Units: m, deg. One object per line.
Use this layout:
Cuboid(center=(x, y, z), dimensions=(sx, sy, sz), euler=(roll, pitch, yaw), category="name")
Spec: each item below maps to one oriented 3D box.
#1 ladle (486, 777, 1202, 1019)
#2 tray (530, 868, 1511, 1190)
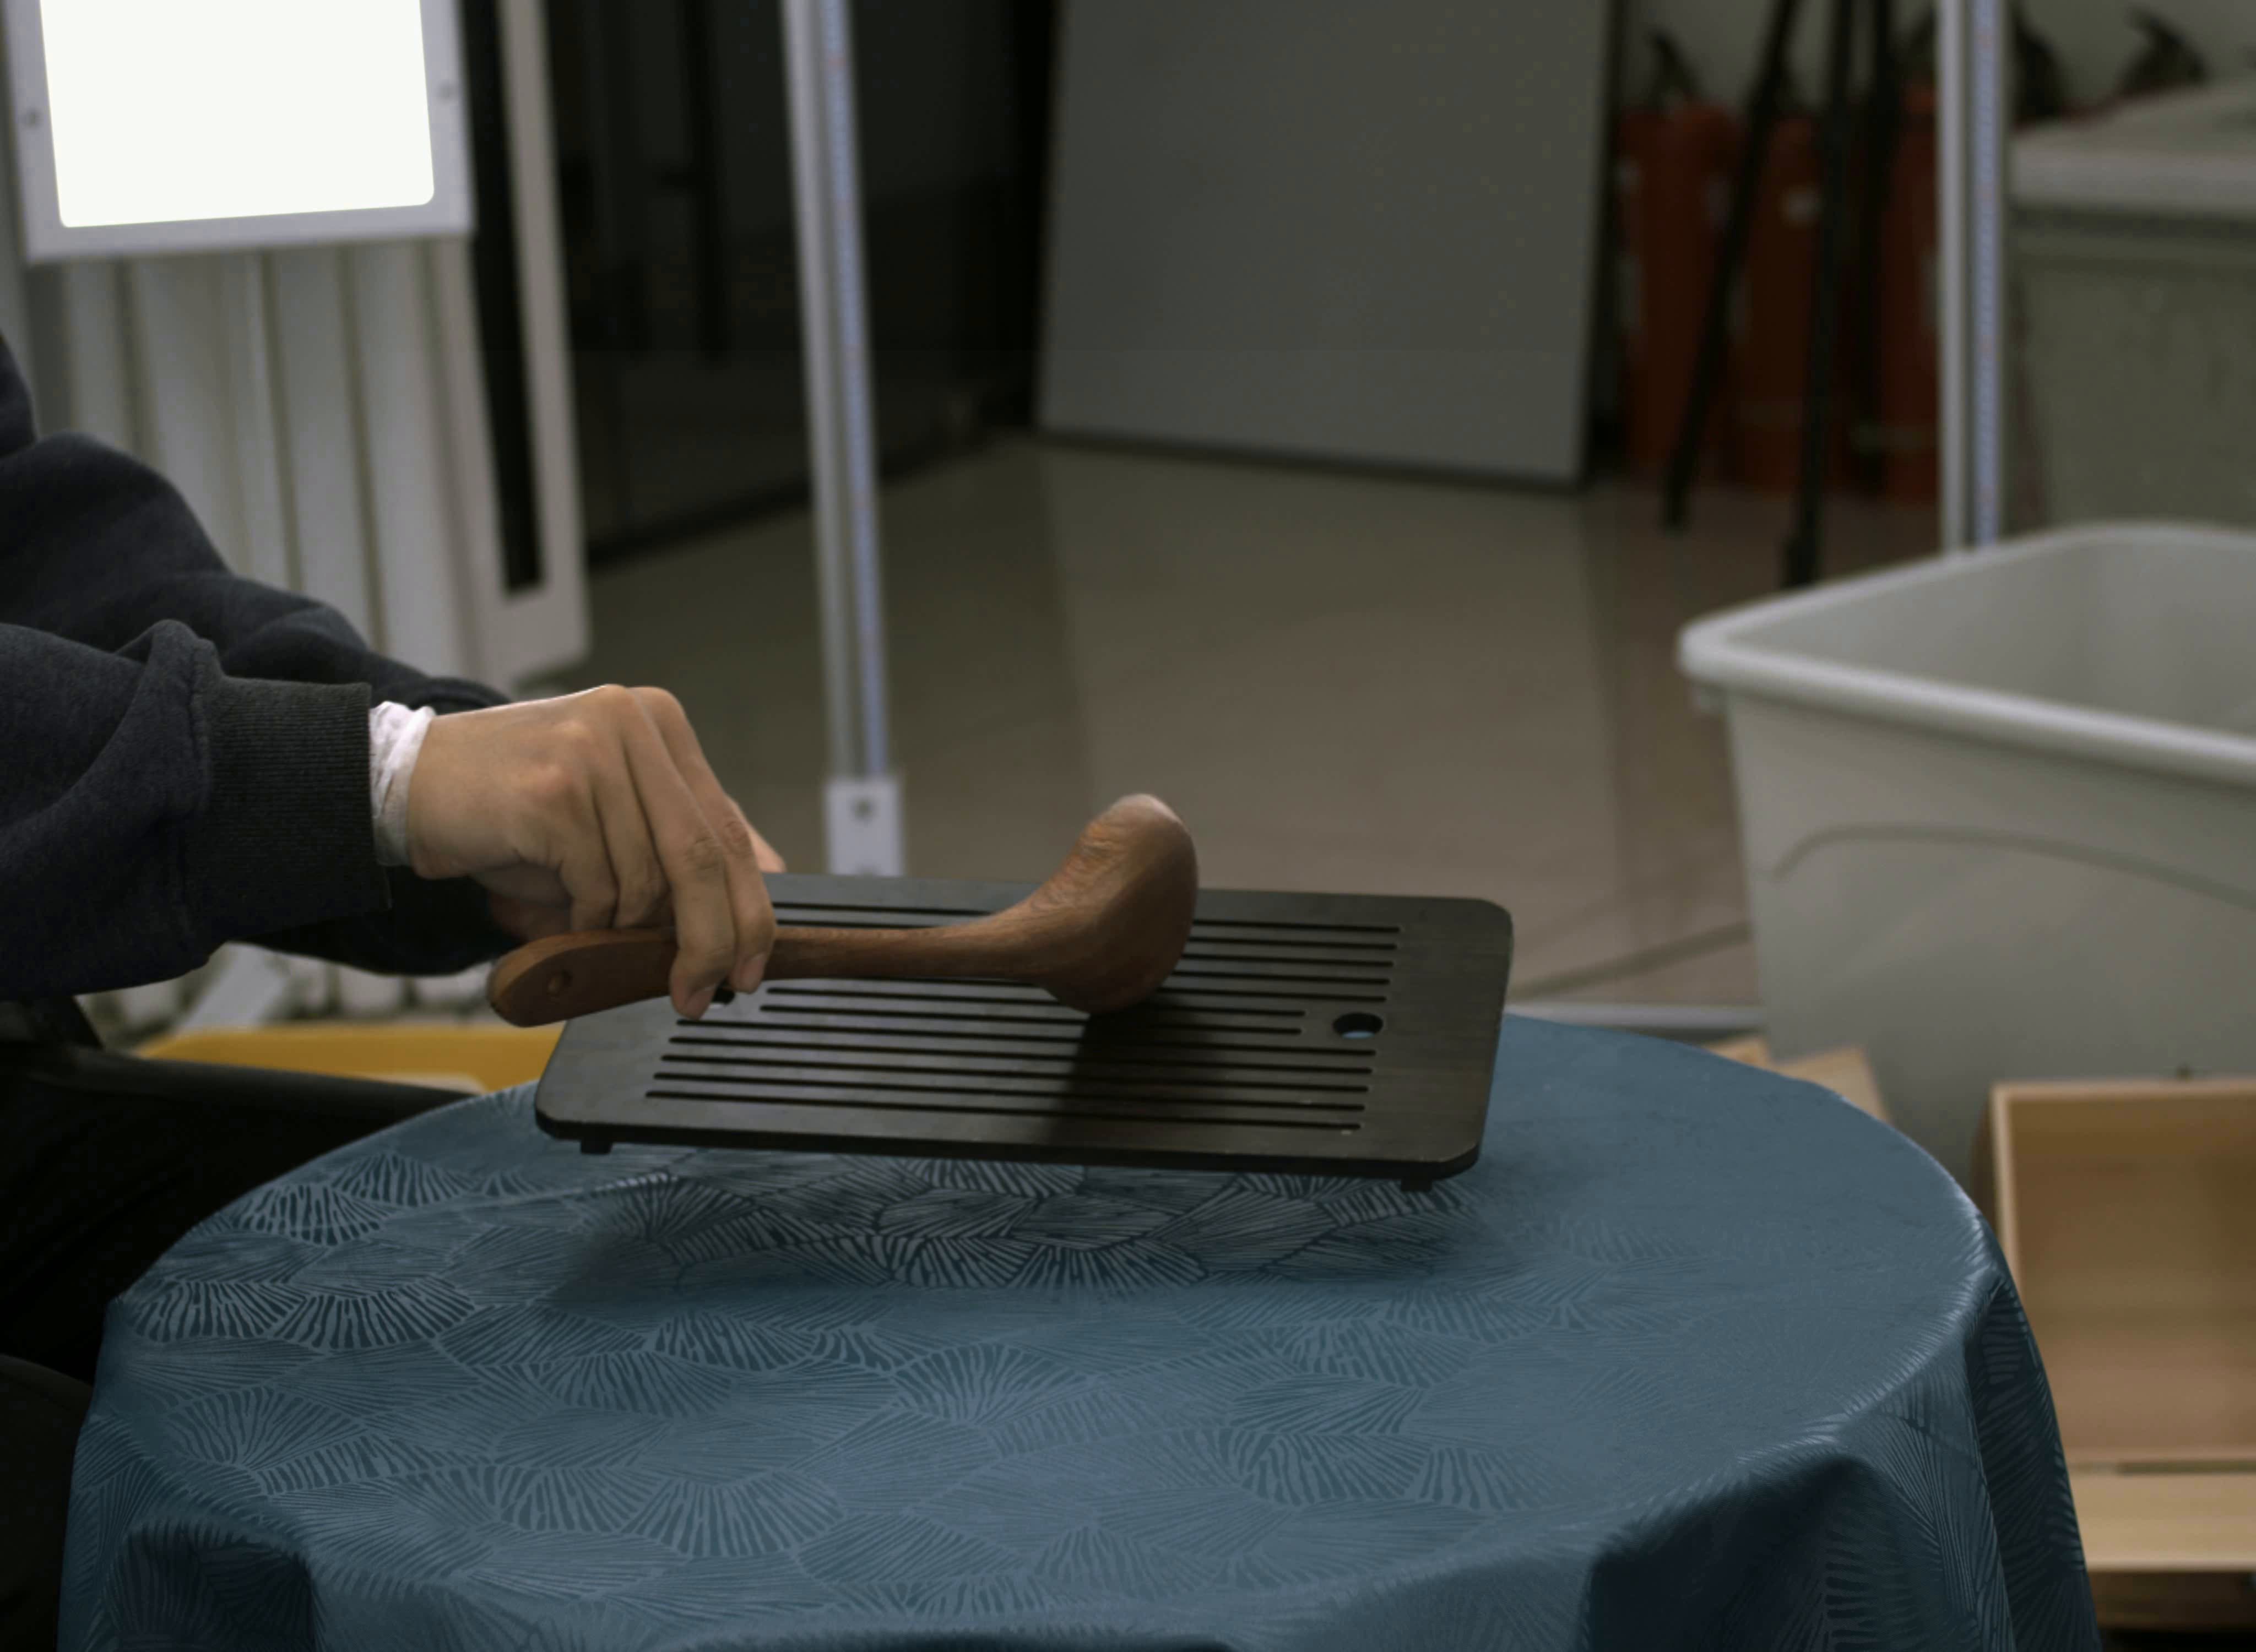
Cuboid(center=(-0.088, 0.031, 1.694), dimensions=(0.254, 0.077, 0.066), euler=(-5, 19, -25), category="ladle")
Cuboid(center=(-0.031, 0.065, 1.758), dimensions=(0.303, 0.019, 0.170), euler=(2, 28, 10), category="tray")
